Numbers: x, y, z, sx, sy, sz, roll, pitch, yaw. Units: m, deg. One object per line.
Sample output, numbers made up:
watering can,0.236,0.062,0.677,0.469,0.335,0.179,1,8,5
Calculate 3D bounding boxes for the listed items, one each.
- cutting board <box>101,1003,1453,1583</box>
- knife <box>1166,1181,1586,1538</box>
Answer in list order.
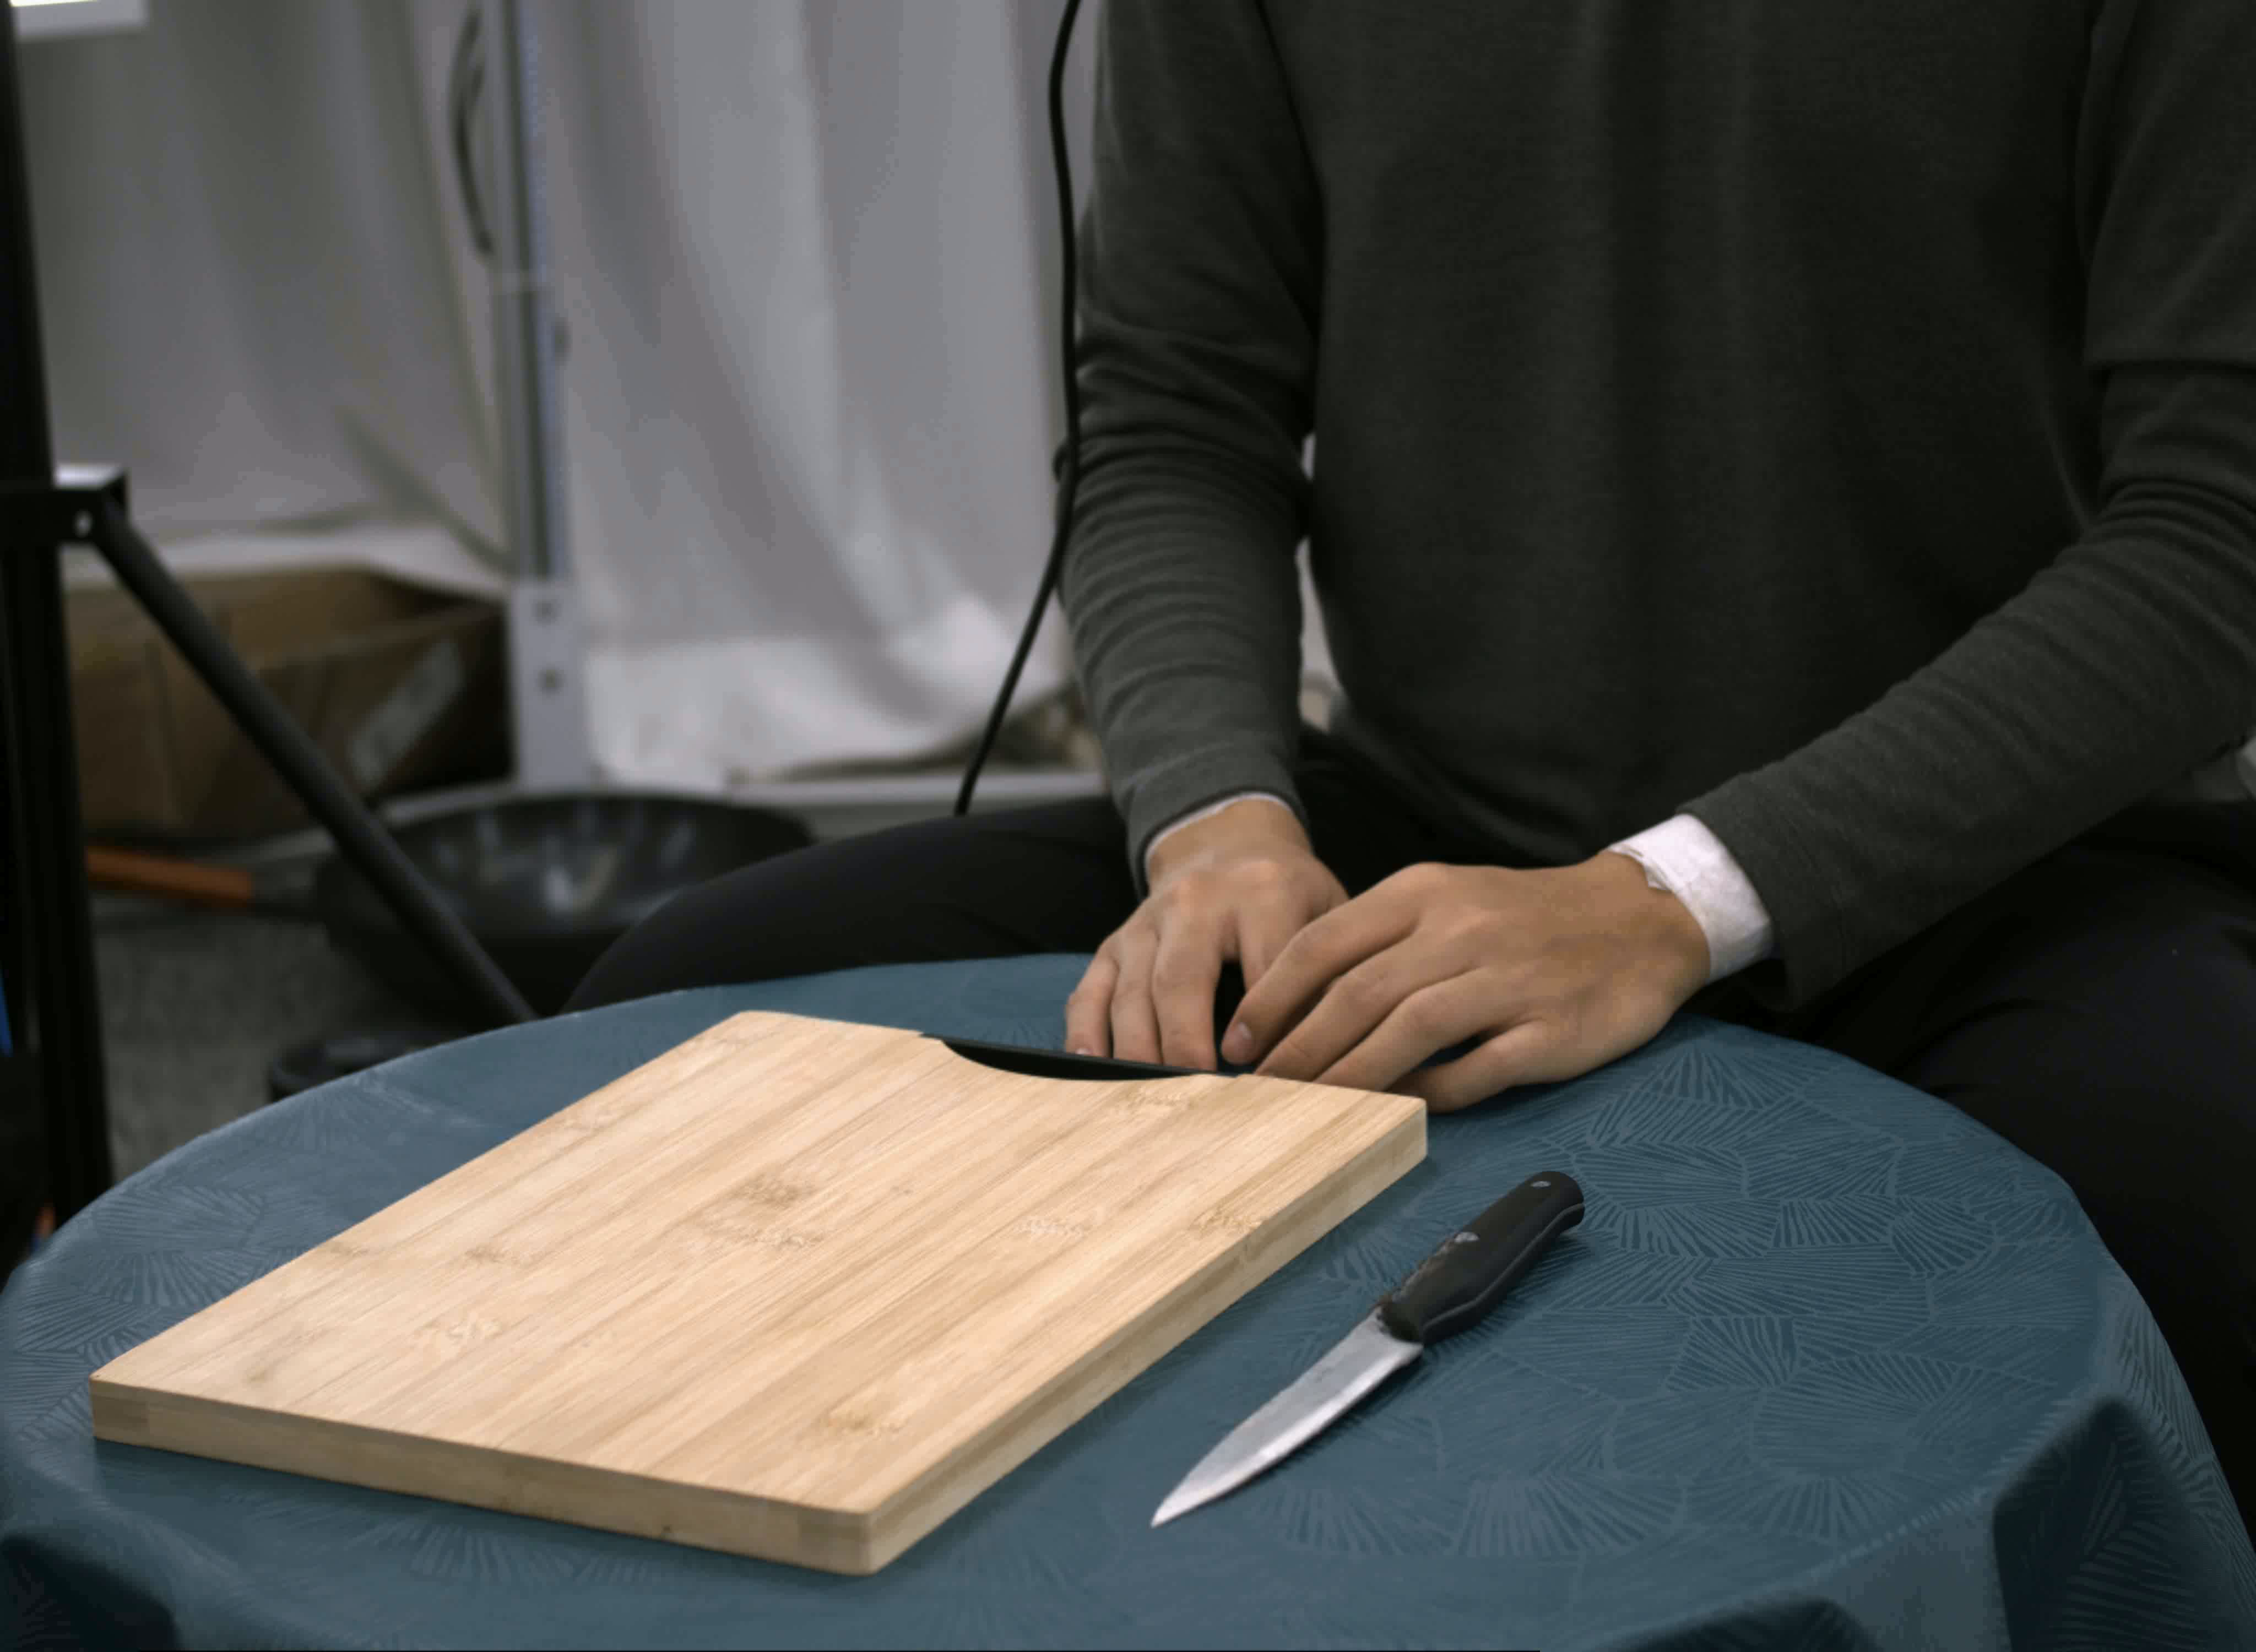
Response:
cutting board,-0.089,0.121,1.500,0.255,0.023,0.343,6,18,27
knife,0.066,0.141,1.414,0.025,0.016,0.234,5,20,29
